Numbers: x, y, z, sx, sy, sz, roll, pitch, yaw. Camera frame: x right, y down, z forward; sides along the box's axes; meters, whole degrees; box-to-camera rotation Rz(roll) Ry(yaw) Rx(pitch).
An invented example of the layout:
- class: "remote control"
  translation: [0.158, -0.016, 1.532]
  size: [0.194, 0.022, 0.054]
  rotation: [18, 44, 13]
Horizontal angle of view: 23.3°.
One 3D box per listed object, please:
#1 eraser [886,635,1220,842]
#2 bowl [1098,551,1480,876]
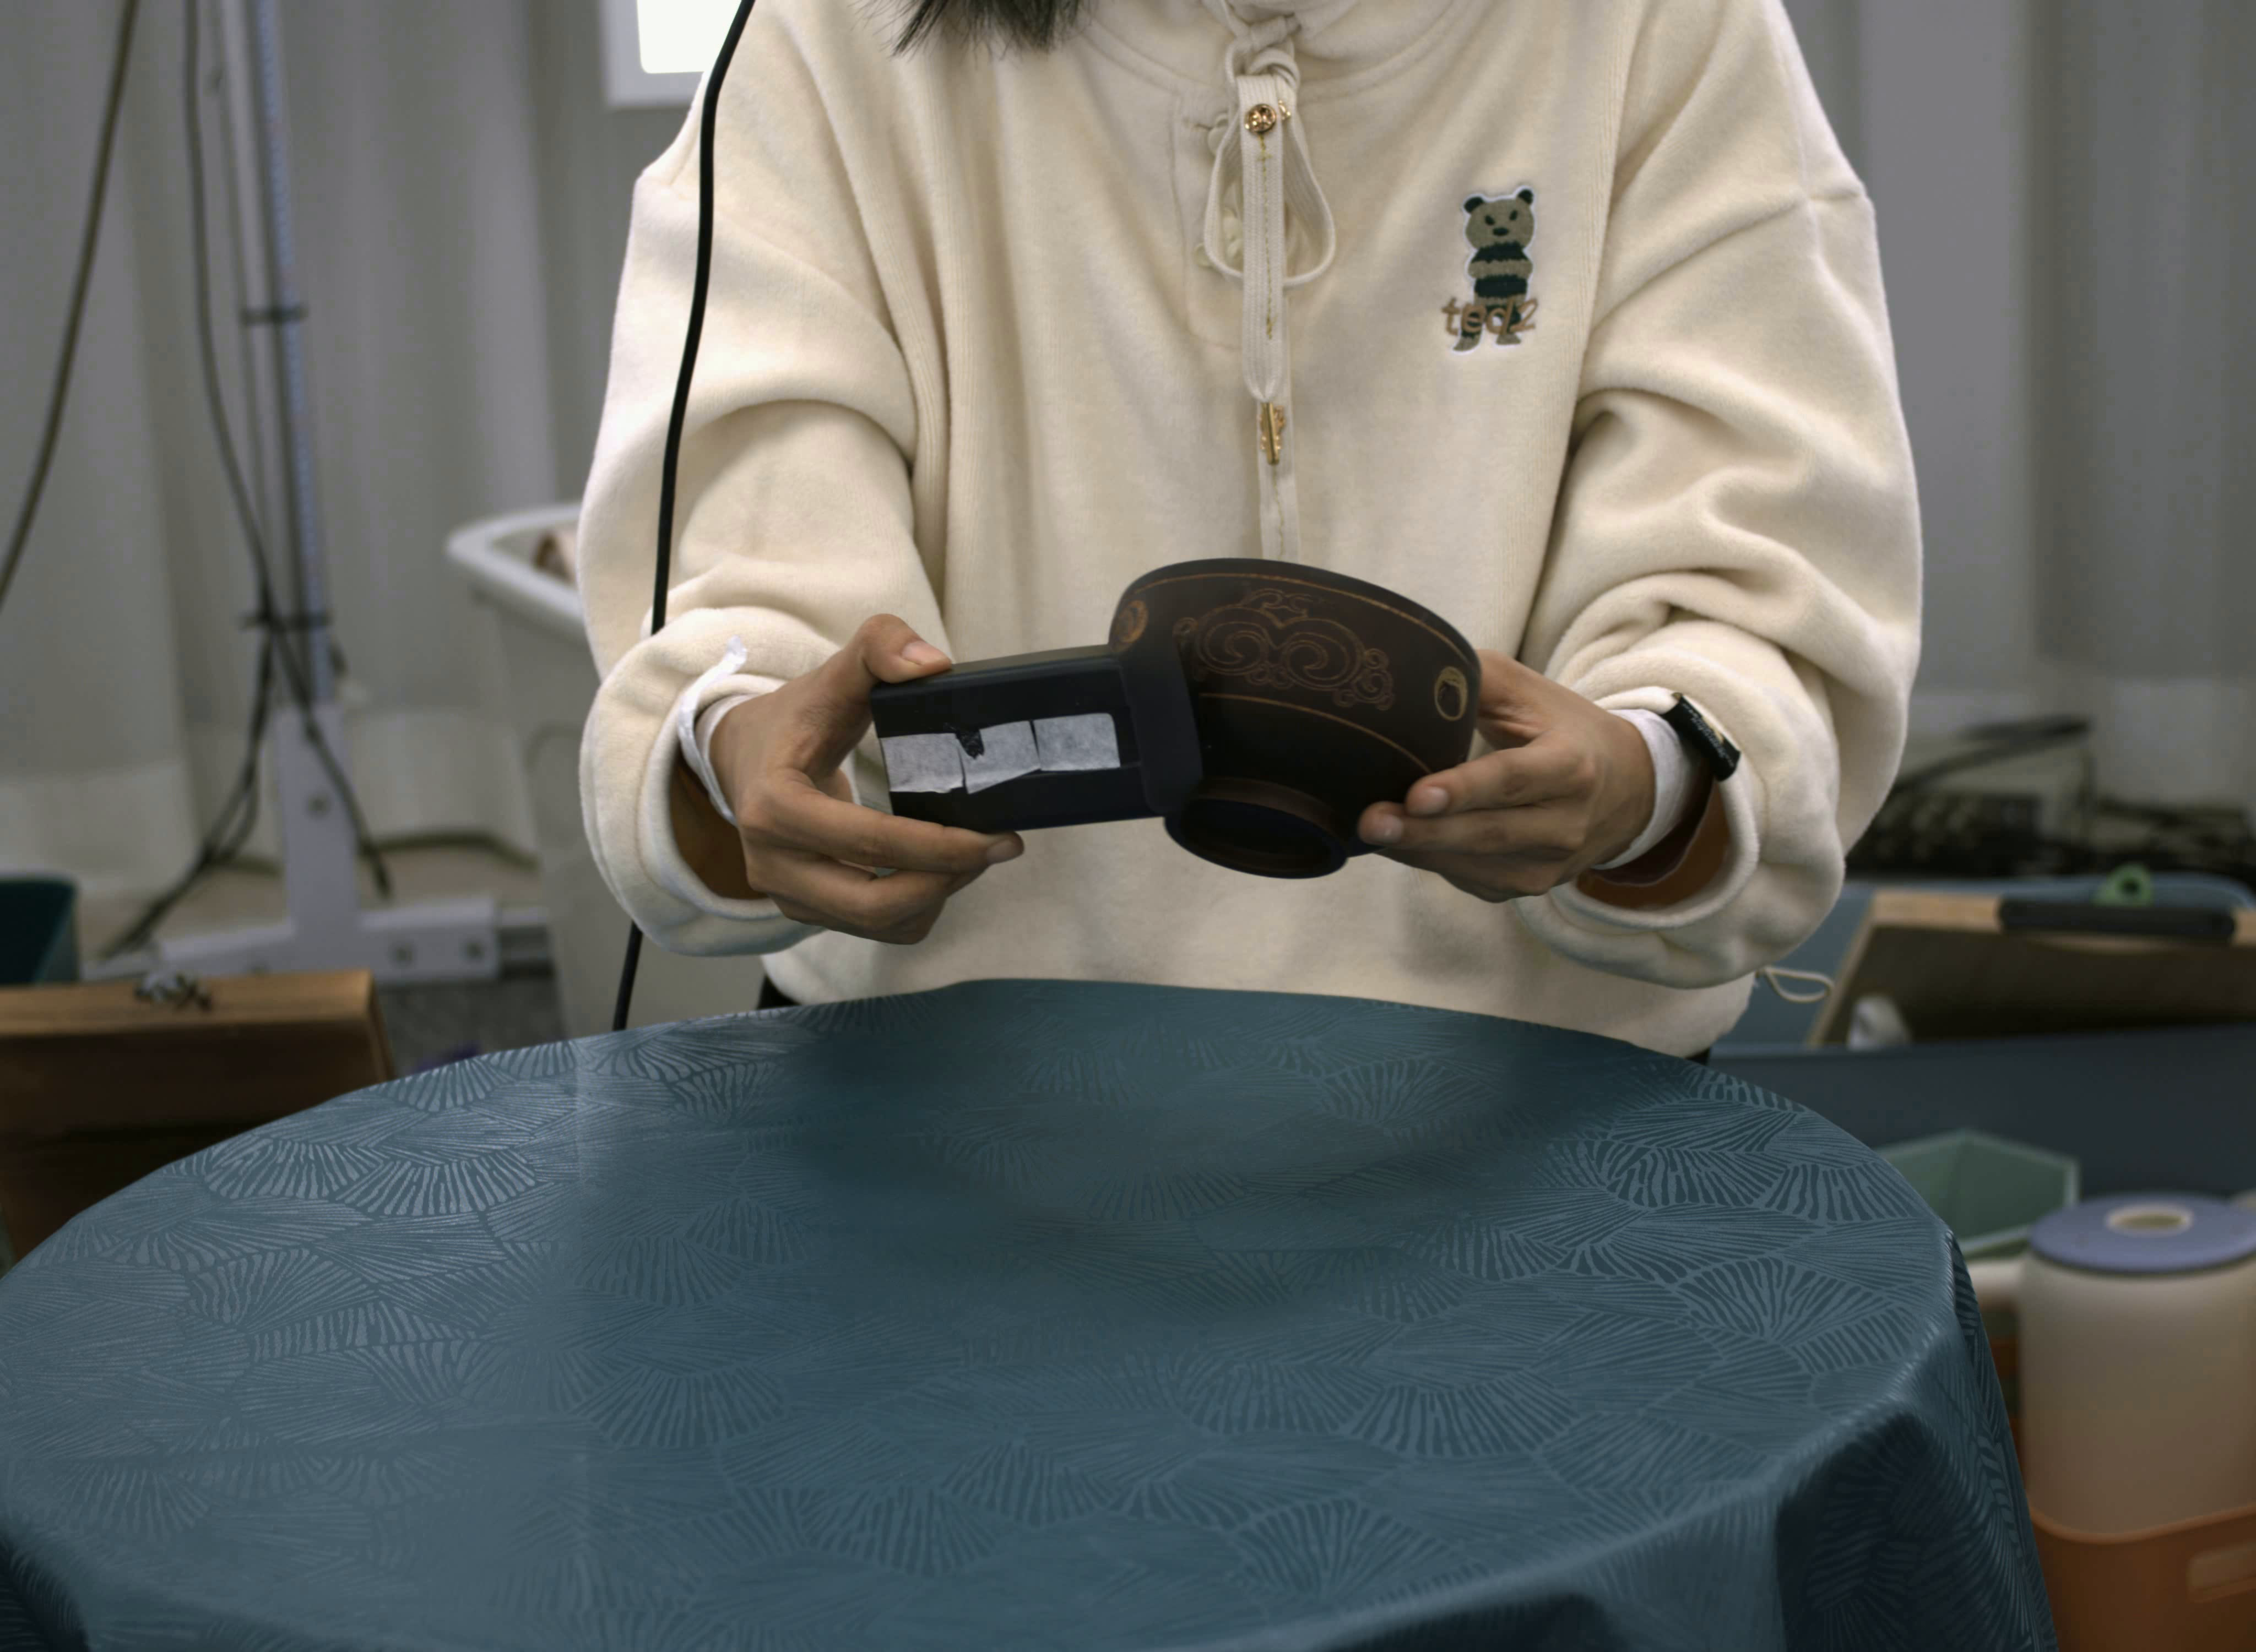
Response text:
- class: "eraser"
  translation: [-0.024, -0.027, 1.655]
  size: [0.030, 0.053, 0.126]
  rotation: [-13, 4, -39]
- class: "bowl"
  translation: [0.045, -0.028, 1.674]
  size: [0.118, 0.070, 0.117]
  rotation: [12, -23, 5]
